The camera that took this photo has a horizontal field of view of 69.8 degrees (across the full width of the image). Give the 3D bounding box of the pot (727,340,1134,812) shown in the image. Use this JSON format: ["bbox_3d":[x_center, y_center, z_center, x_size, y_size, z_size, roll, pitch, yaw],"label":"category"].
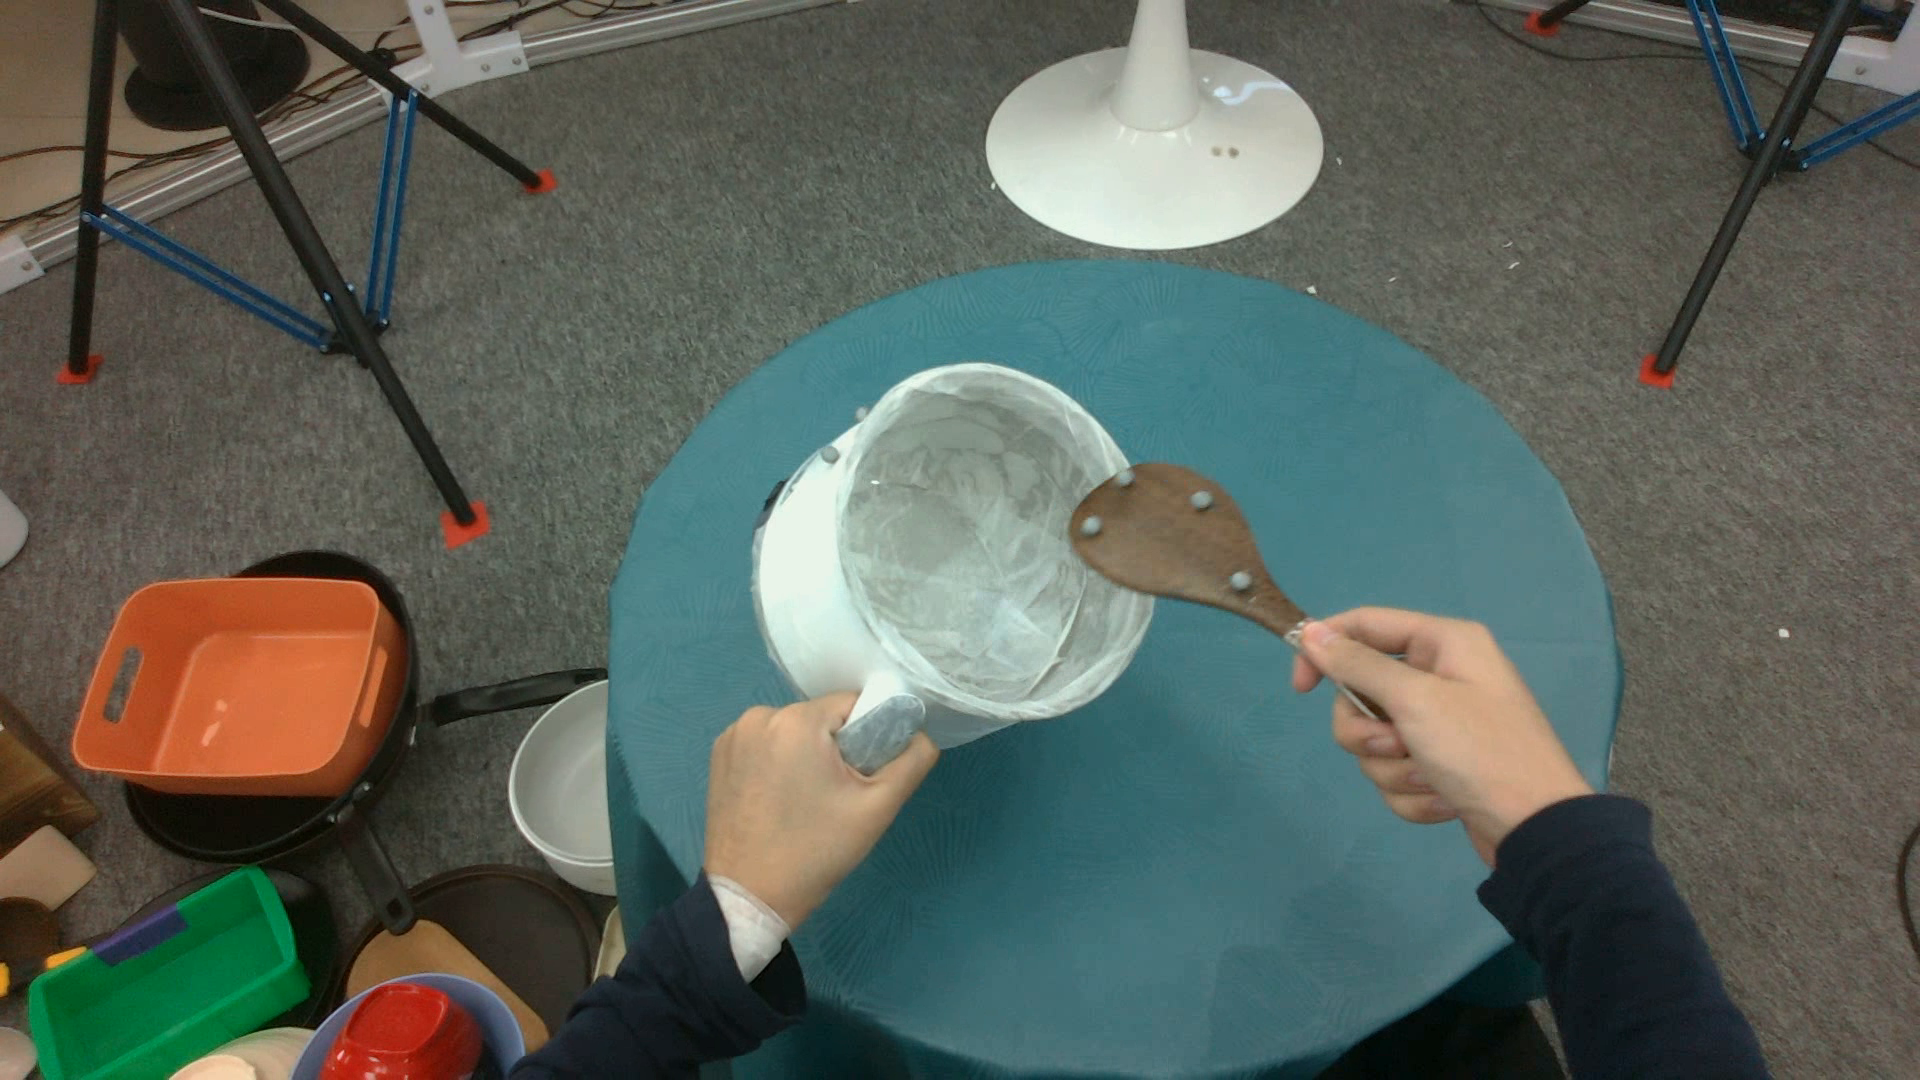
[{"bbox_3d":[-0.031,0.026,0.691,0.178,0.136,0.235,35,59,-13],"label":"pot"}]

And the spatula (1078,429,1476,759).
[{"bbox_3d":[0.134,0.022,0.599,0.072,0.009,0.216,-36,57,-14],"label":"spatula"}]
